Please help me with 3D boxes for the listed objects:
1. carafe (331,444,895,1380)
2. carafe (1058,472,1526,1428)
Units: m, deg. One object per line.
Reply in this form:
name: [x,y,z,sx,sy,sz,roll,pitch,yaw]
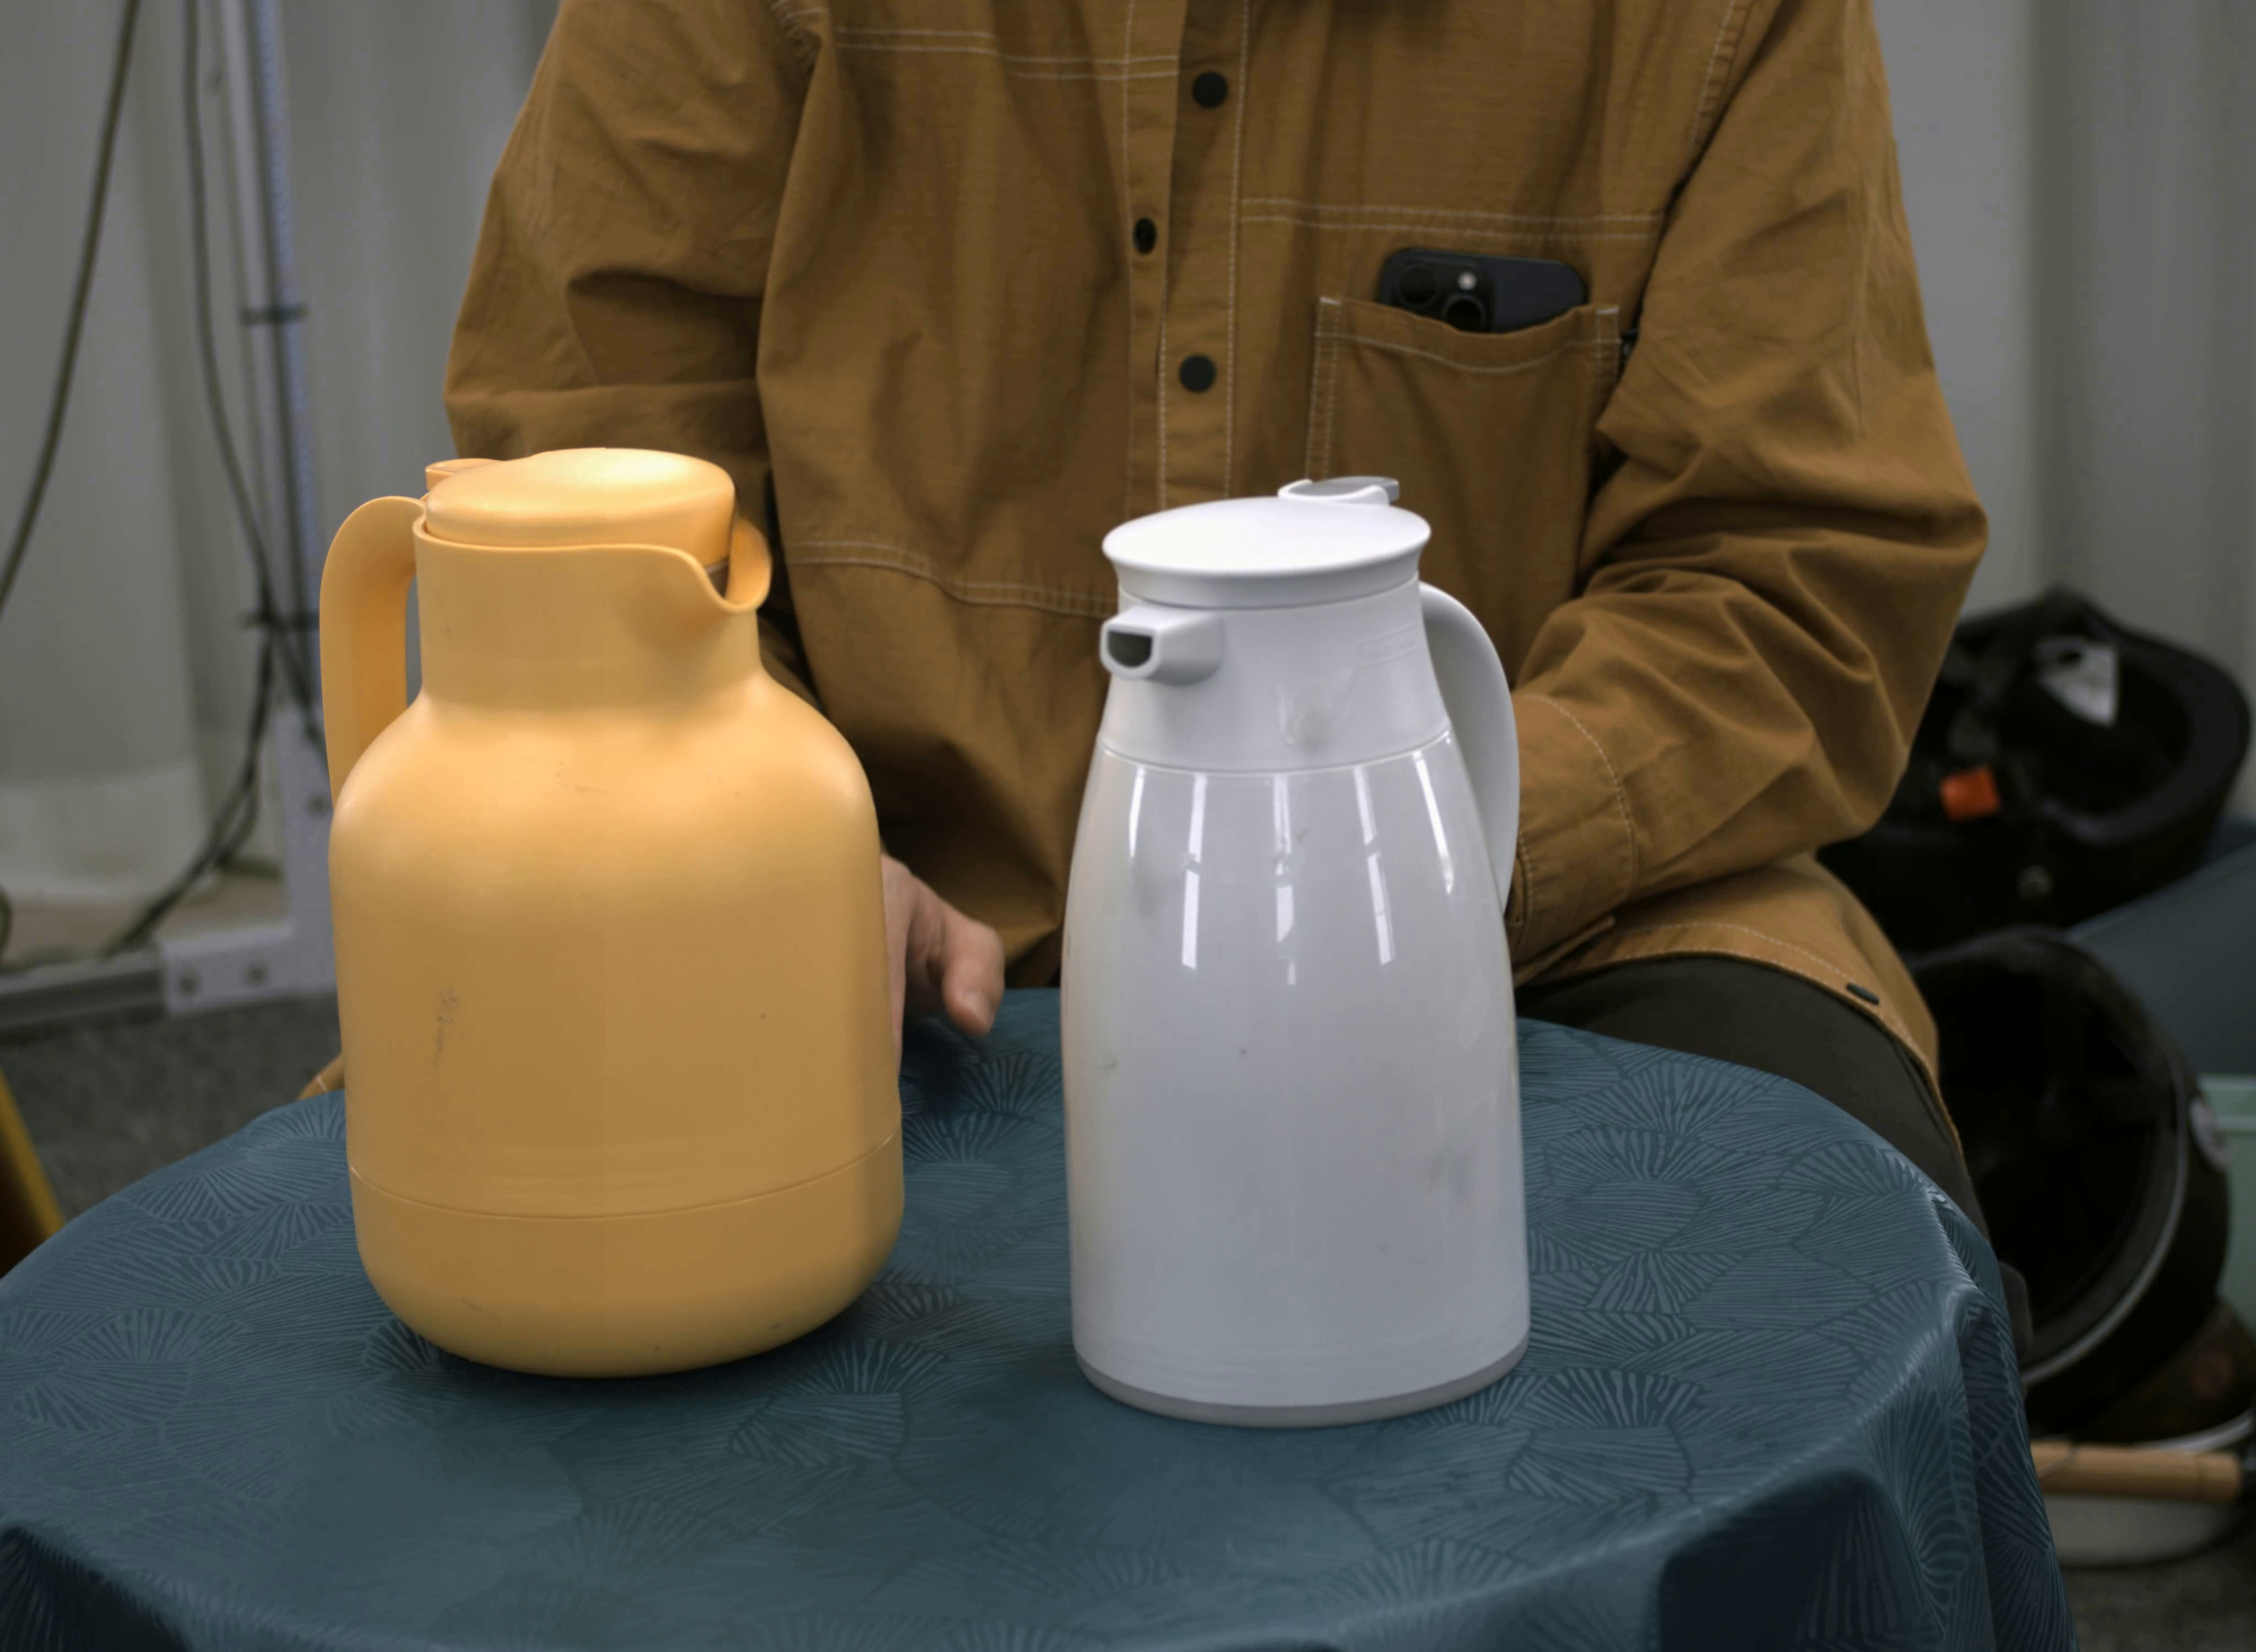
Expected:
carafe: [-0.163,0.017,1.612,0.163,0.259,0.204,-11,17,-39]
carafe: [0.055,0.026,1.558,0.133,0.248,0.167,8,17,38]
